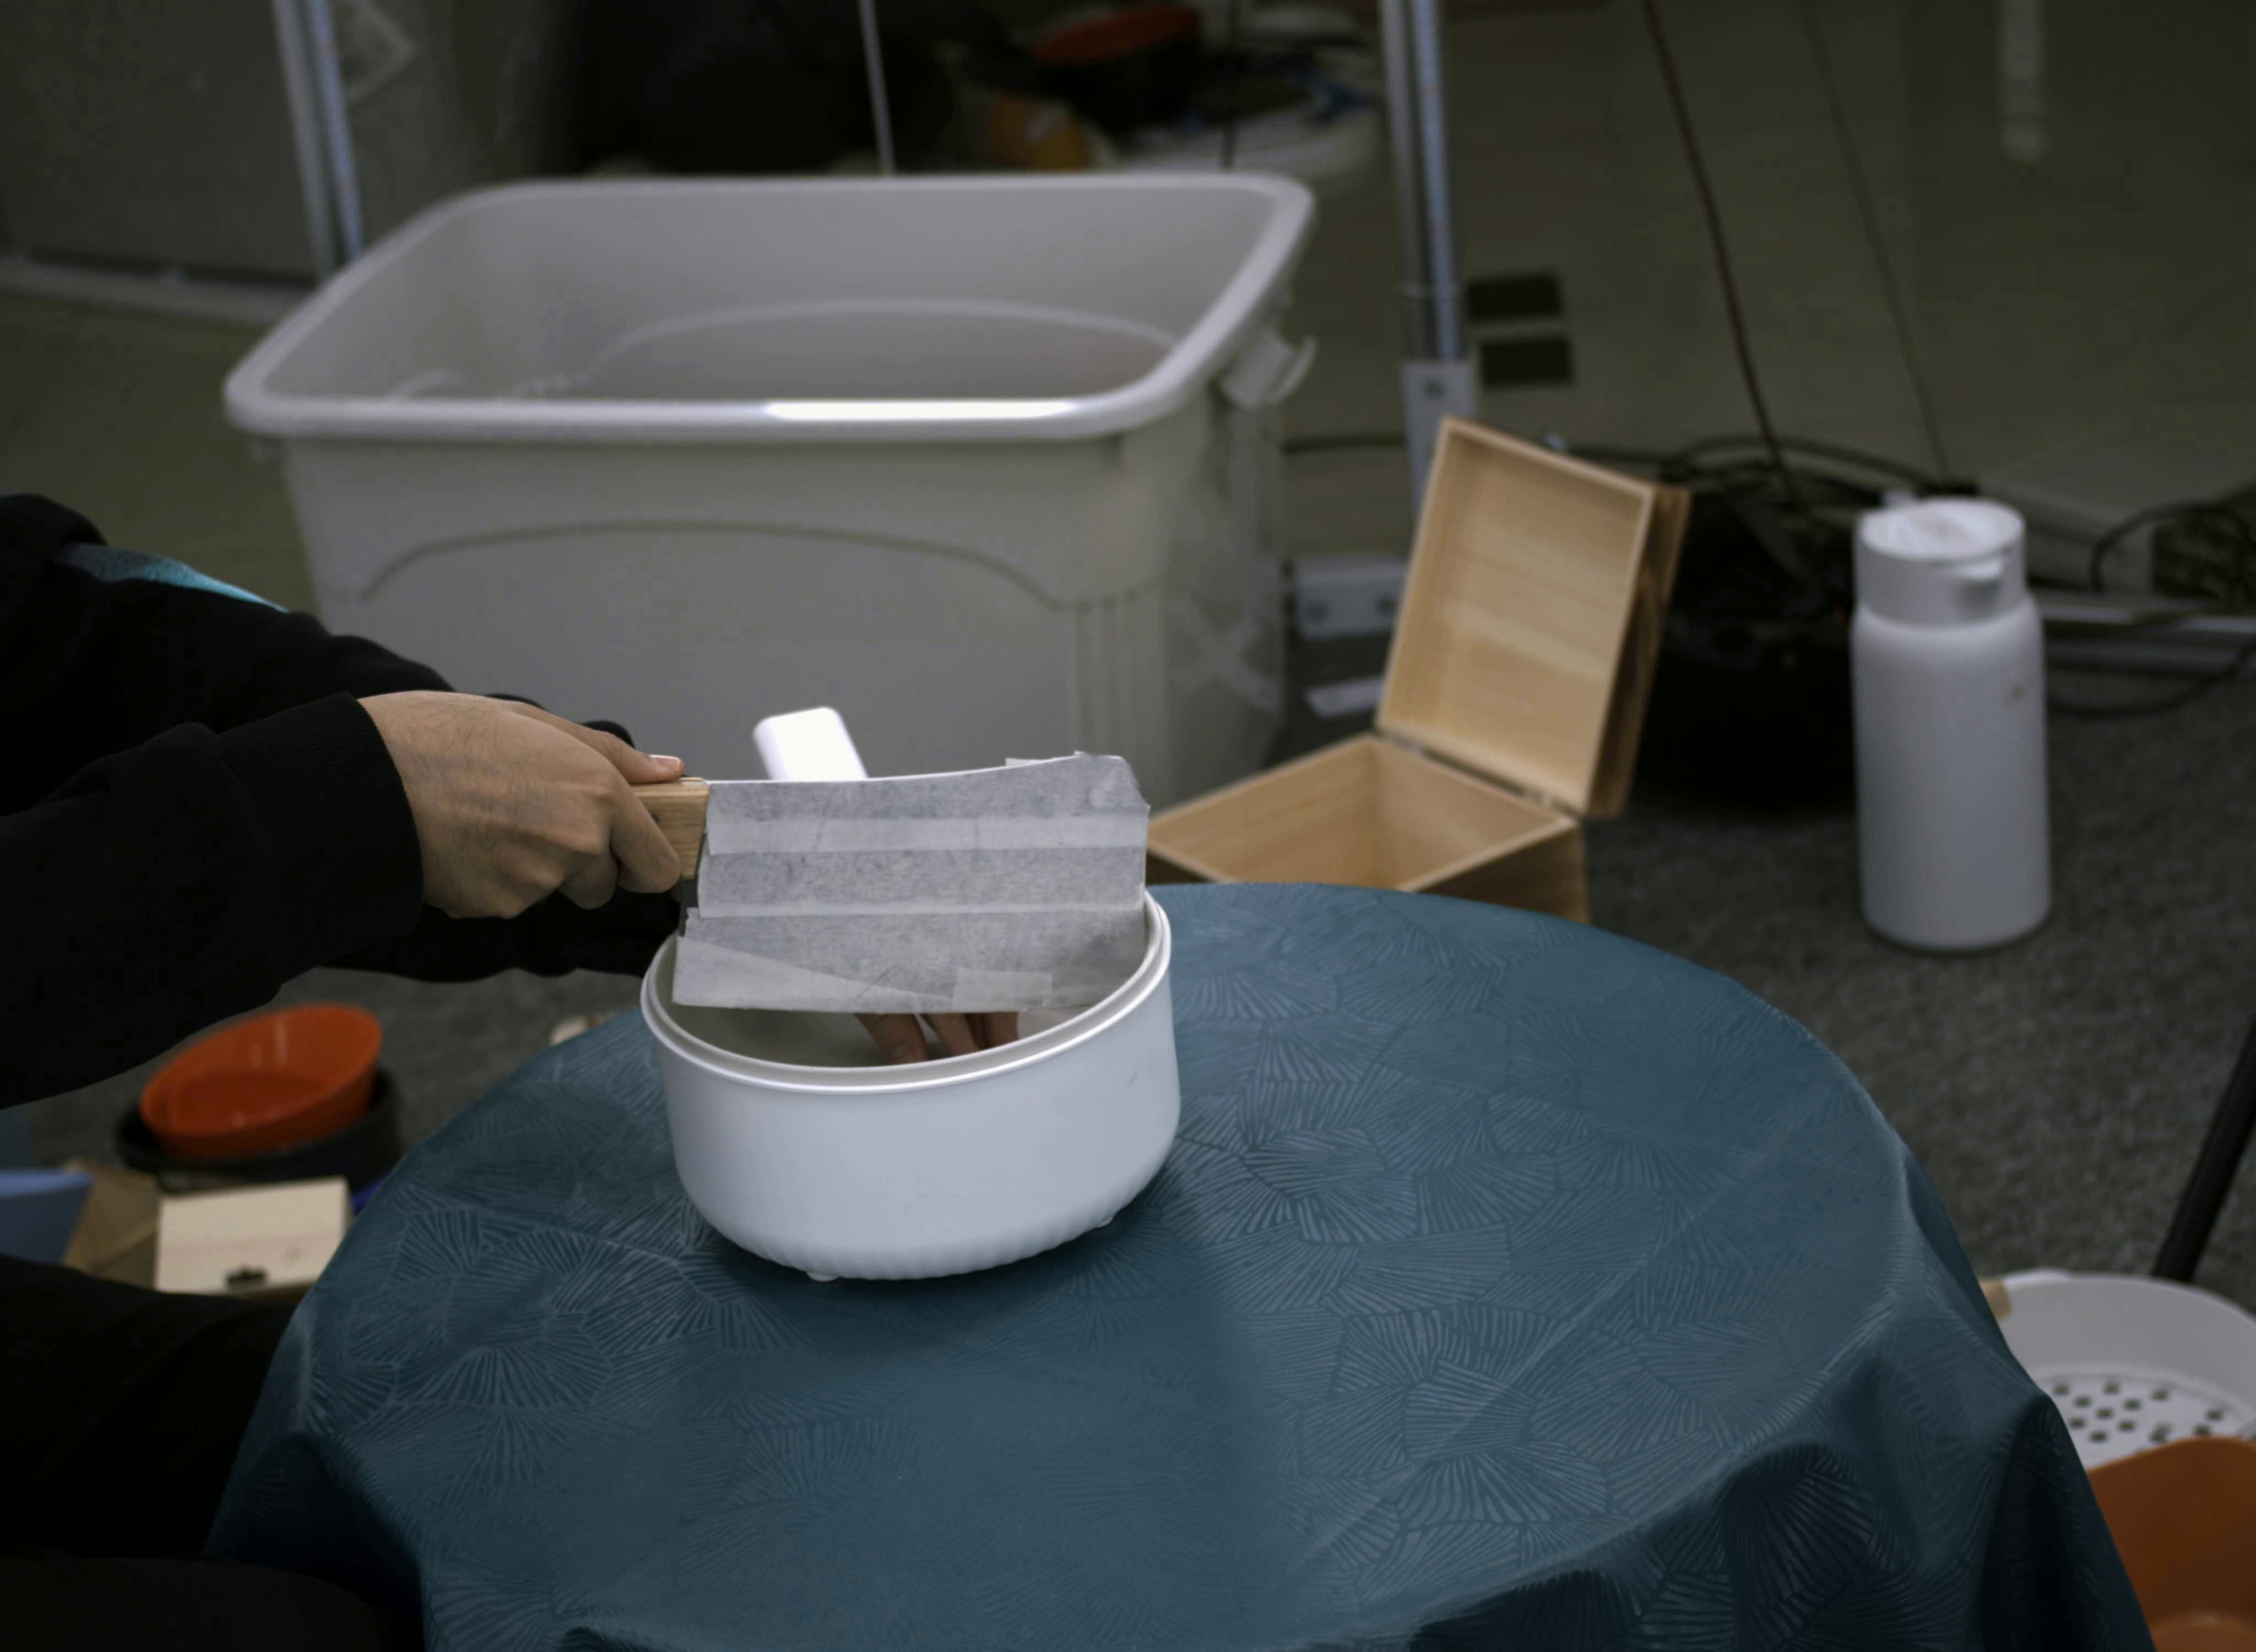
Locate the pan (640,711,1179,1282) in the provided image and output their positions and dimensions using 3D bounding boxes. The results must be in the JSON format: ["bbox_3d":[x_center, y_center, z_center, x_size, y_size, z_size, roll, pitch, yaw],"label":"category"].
[{"bbox_3d":[-0.095,0.064,2.214,0.201,0.104,0.350,-11,25,-8],"label":"pan"}]

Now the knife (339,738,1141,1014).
[{"bbox_3d":[-0.135,0.015,2.083,0.315,0.115,0.021,3,16,-21],"label":"knife"}]
